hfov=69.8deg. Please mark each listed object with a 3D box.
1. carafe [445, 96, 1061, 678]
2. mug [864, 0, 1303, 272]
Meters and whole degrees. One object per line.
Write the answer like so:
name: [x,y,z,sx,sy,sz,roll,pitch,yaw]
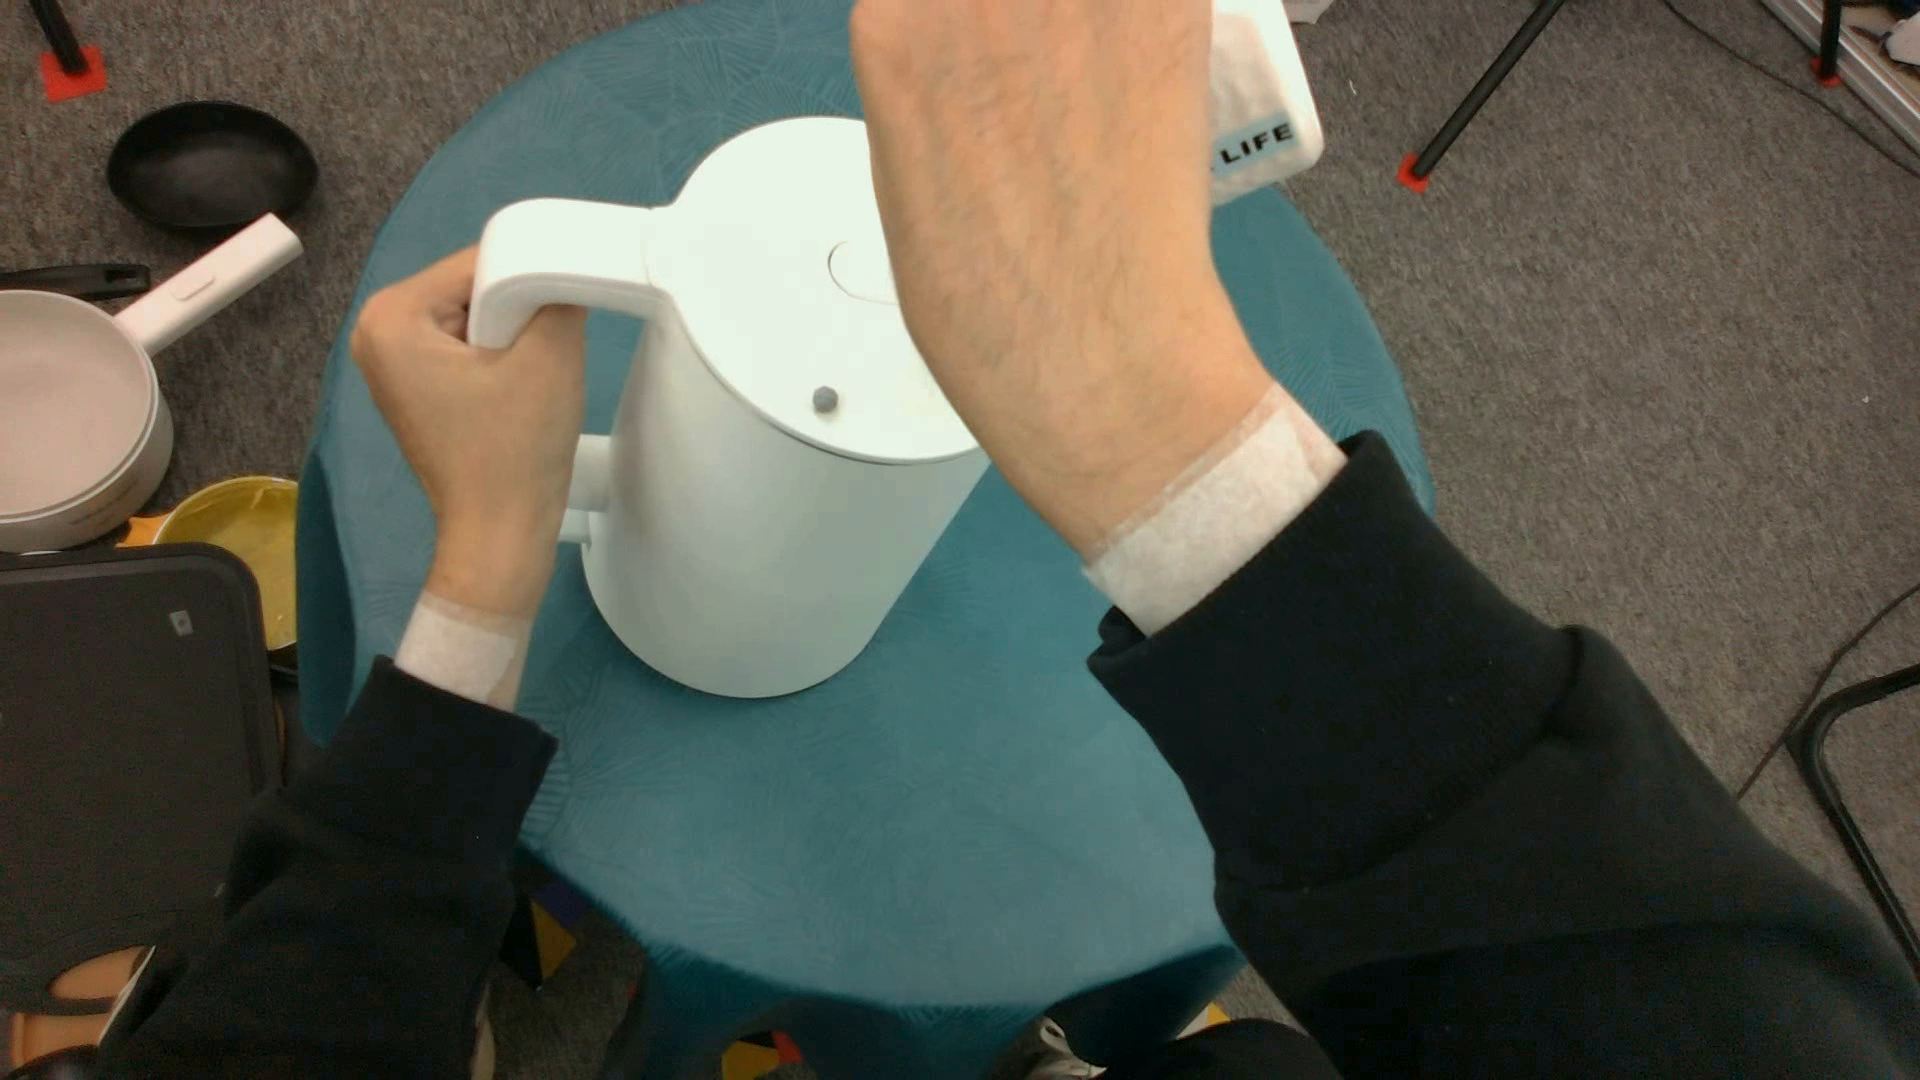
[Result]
carafe: [-0.099,-0.056,0.570,0.213,0.239,0.152,5,62,-21]
mug: [0.032,-0.133,0.381,0.101,0.118,0.085,-19,93,19]
